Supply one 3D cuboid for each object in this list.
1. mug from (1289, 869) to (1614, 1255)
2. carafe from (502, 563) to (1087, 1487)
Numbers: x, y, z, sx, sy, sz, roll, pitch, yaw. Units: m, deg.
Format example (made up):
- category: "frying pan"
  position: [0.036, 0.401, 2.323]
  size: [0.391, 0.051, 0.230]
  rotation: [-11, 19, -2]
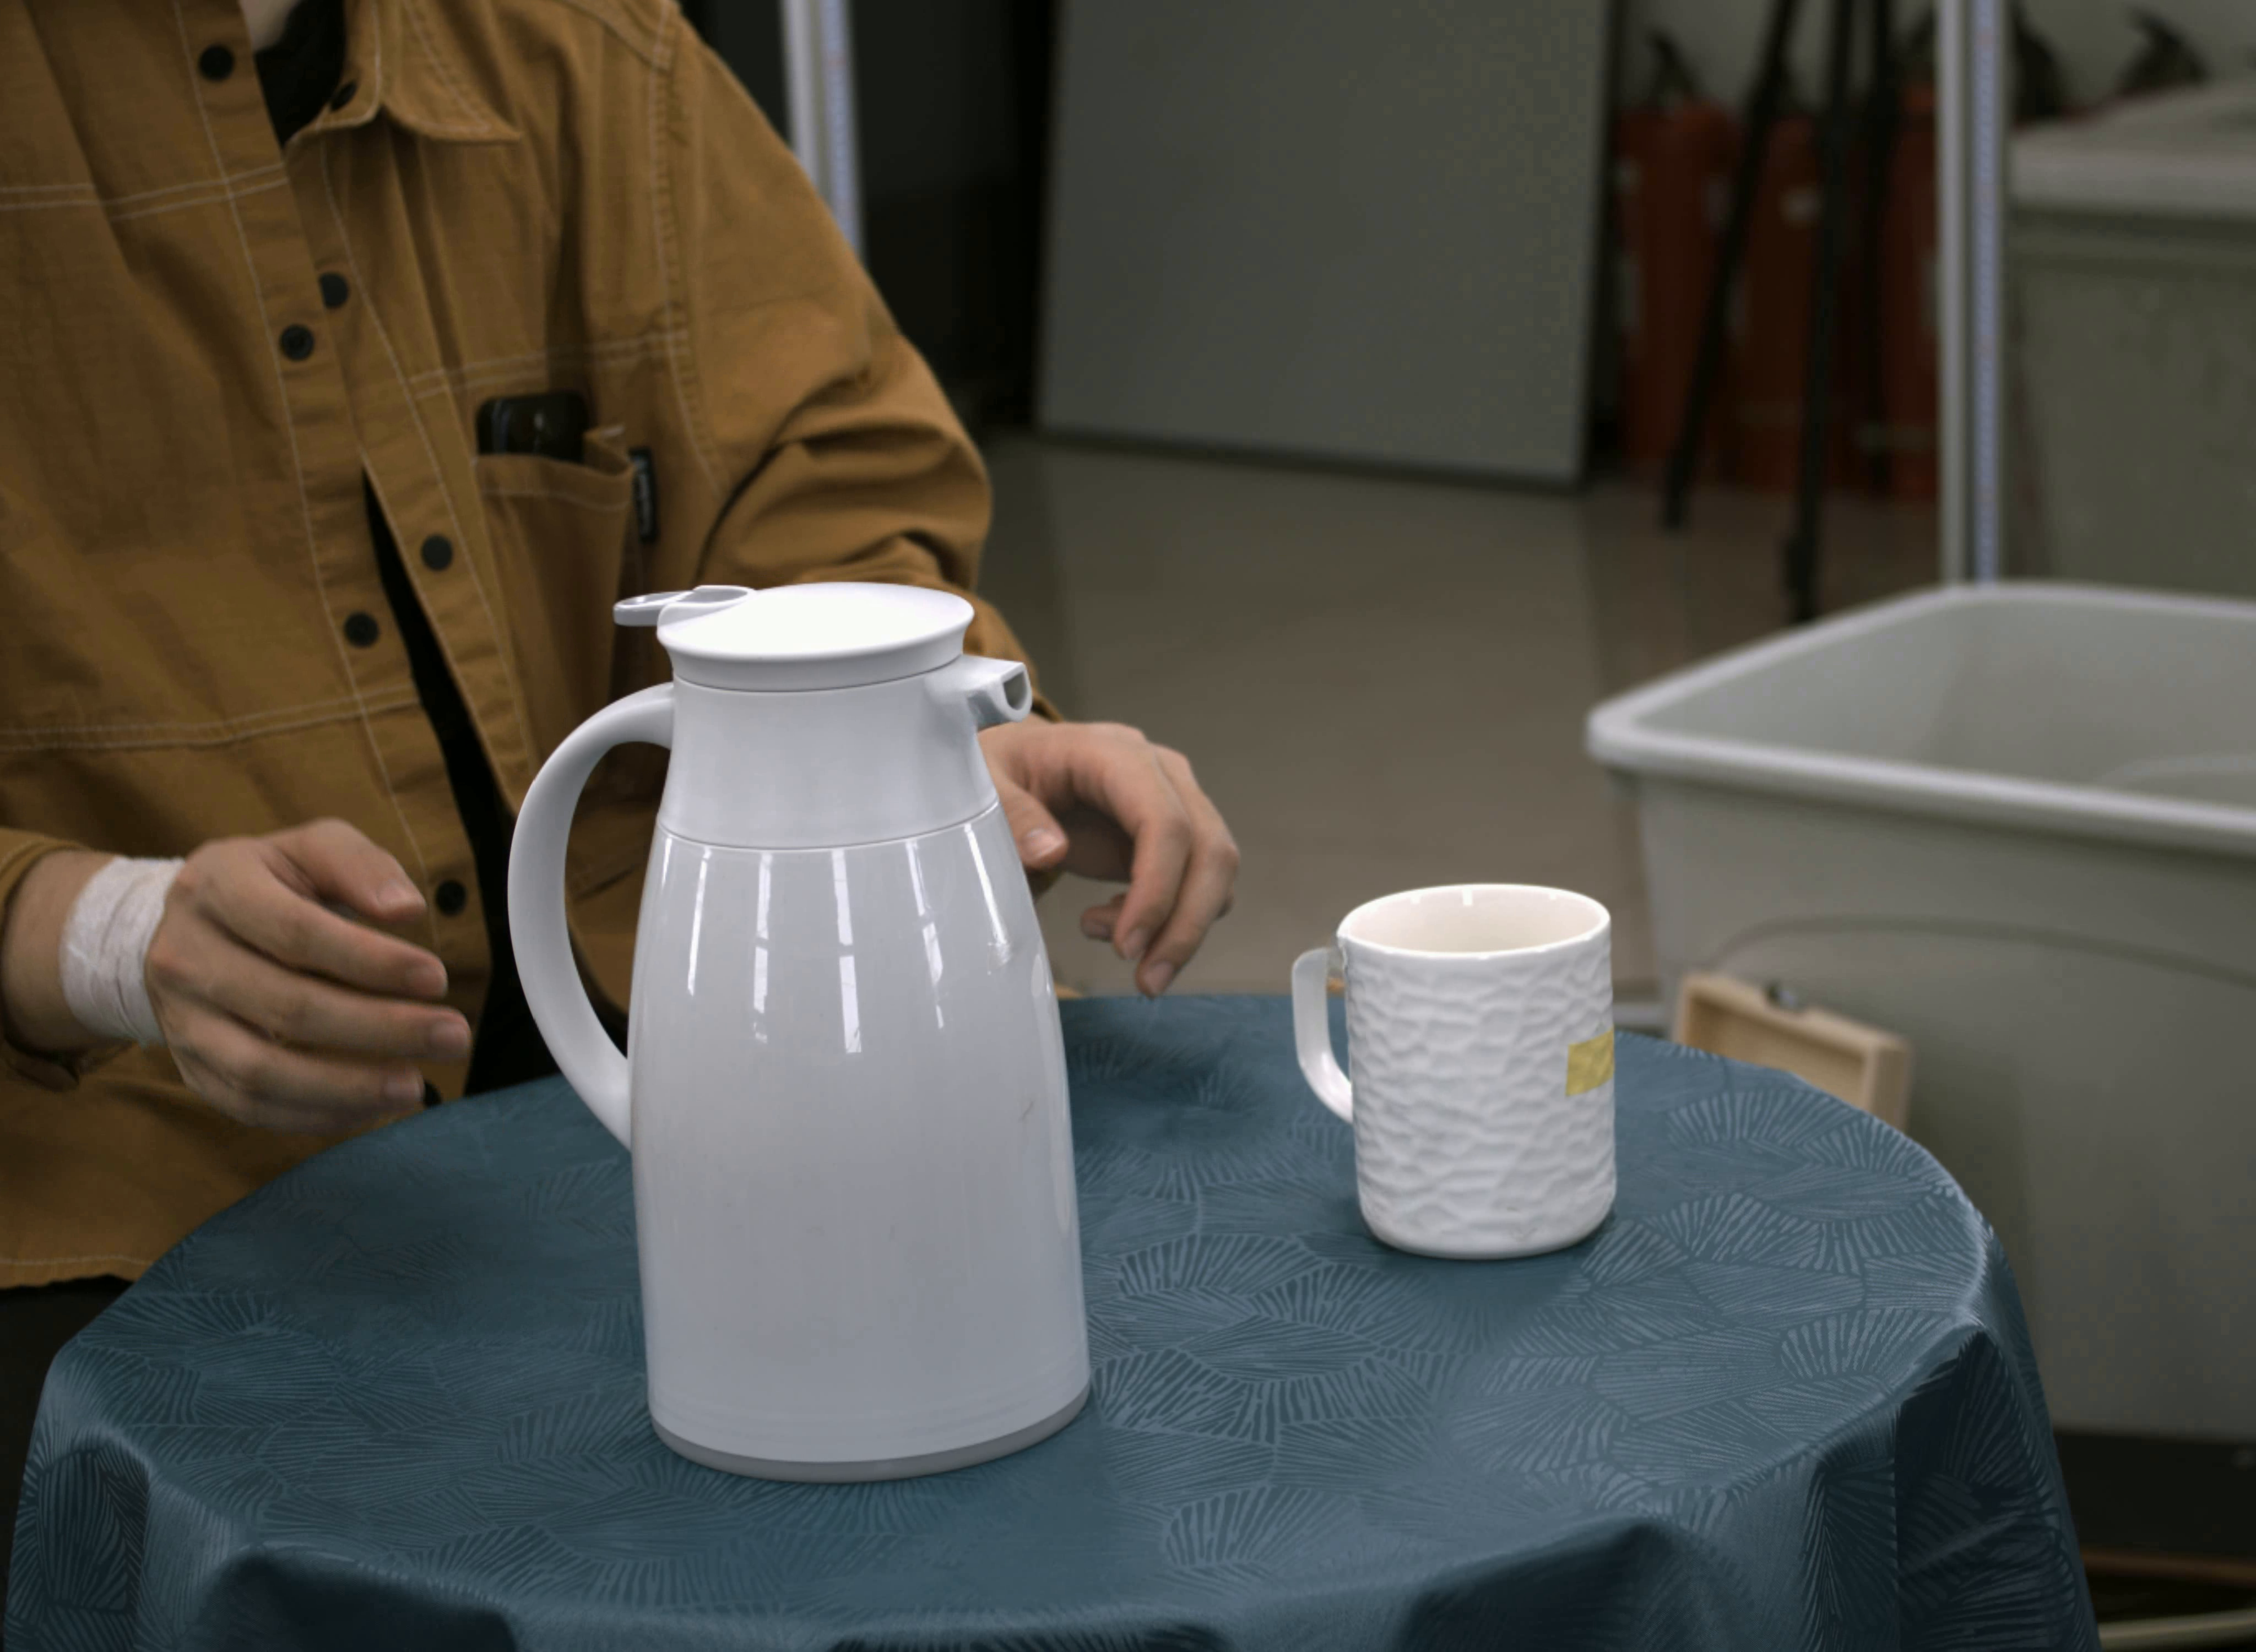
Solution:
- category: "mug"
  position: [0.100, 0.072, 1.715]
  size: [0.119, 0.103, 0.083]
  rotation: [10, 20, 41]
- category: "carafe"
  position: [-0.102, 0.050, 1.571]
  size: [0.167, 0.251, 0.131]
  rotation: [1, 15, 22]
